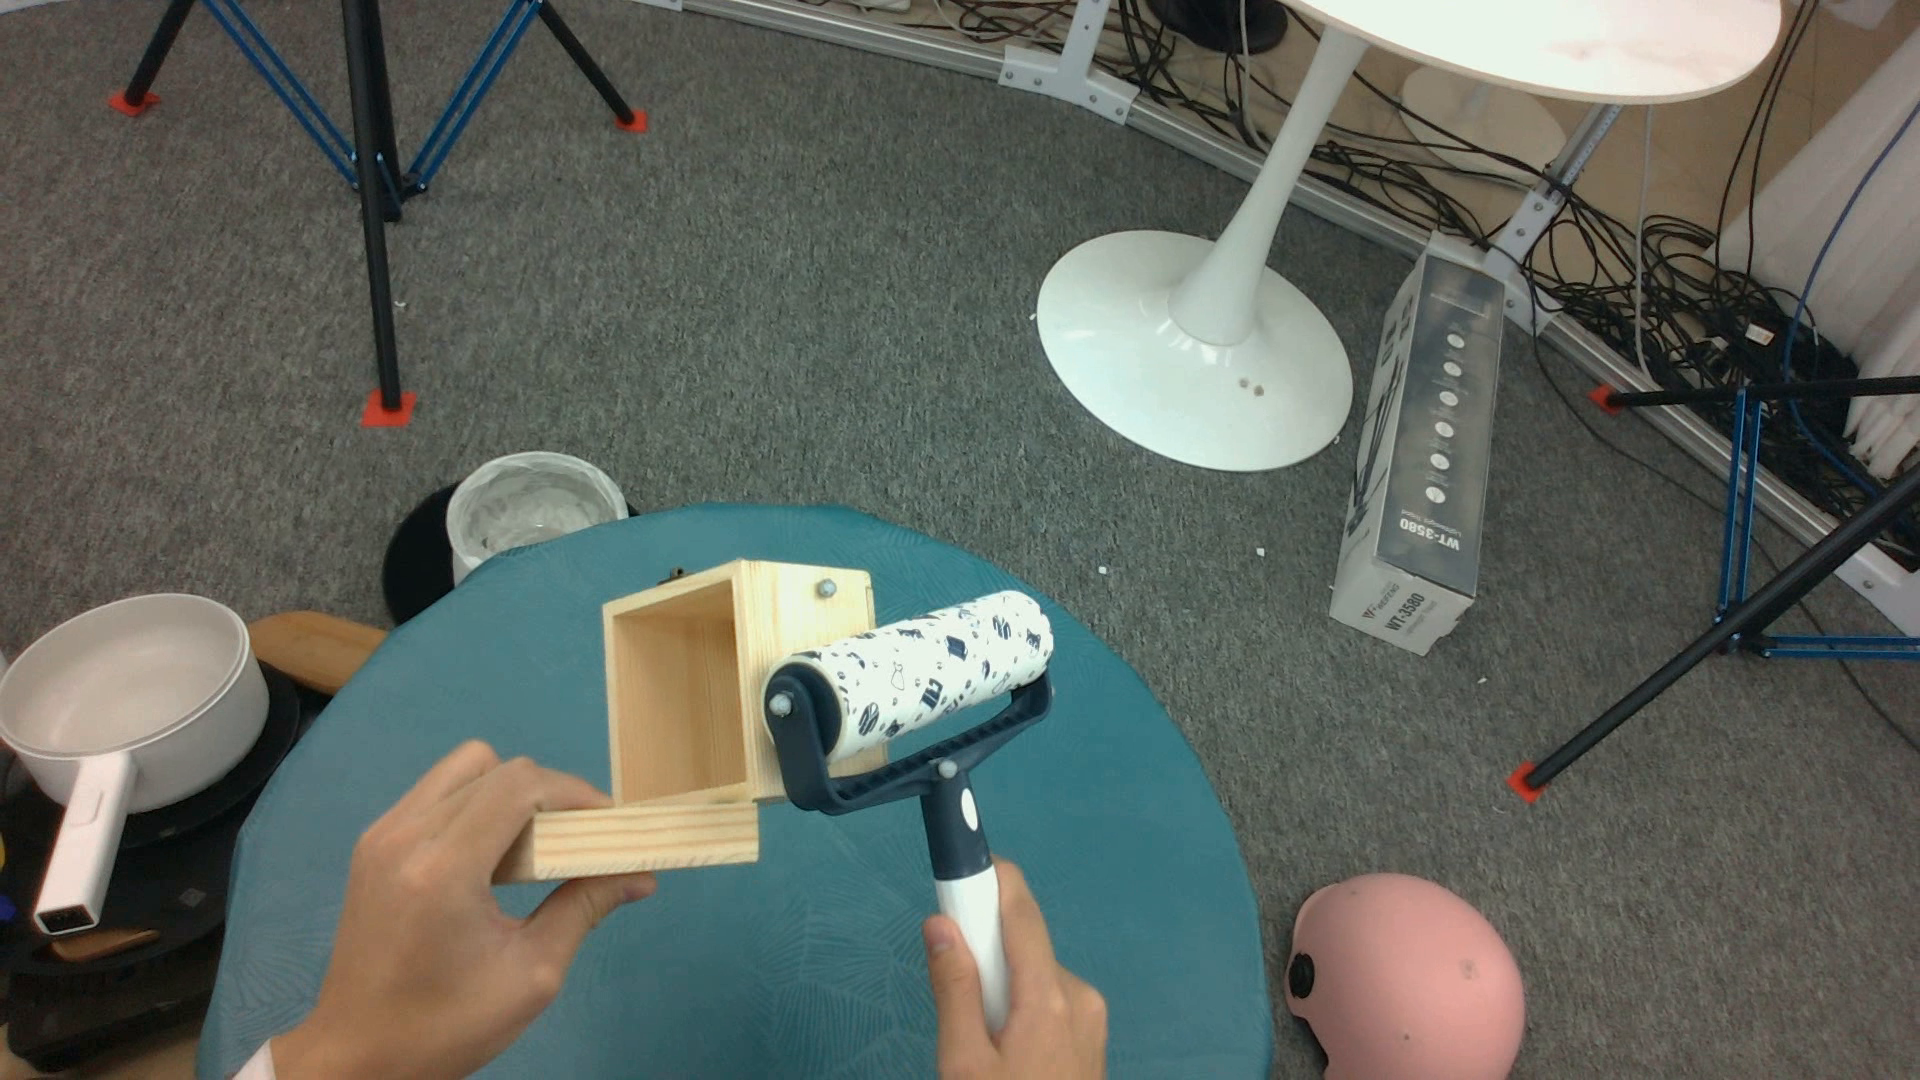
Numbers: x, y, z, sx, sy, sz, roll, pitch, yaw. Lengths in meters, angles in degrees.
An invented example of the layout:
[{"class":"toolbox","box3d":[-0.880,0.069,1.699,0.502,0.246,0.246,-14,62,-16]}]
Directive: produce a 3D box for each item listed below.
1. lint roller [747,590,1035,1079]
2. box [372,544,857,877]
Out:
[{"class":"lint roller","box3d":[-0.001,0.153,0.615,0.177,0.050,0.247,-14,89,-56]},{"class":"box","box3d":[-0.141,0.070,0.588,0.185,0.102,0.134,8,69,-48]}]
